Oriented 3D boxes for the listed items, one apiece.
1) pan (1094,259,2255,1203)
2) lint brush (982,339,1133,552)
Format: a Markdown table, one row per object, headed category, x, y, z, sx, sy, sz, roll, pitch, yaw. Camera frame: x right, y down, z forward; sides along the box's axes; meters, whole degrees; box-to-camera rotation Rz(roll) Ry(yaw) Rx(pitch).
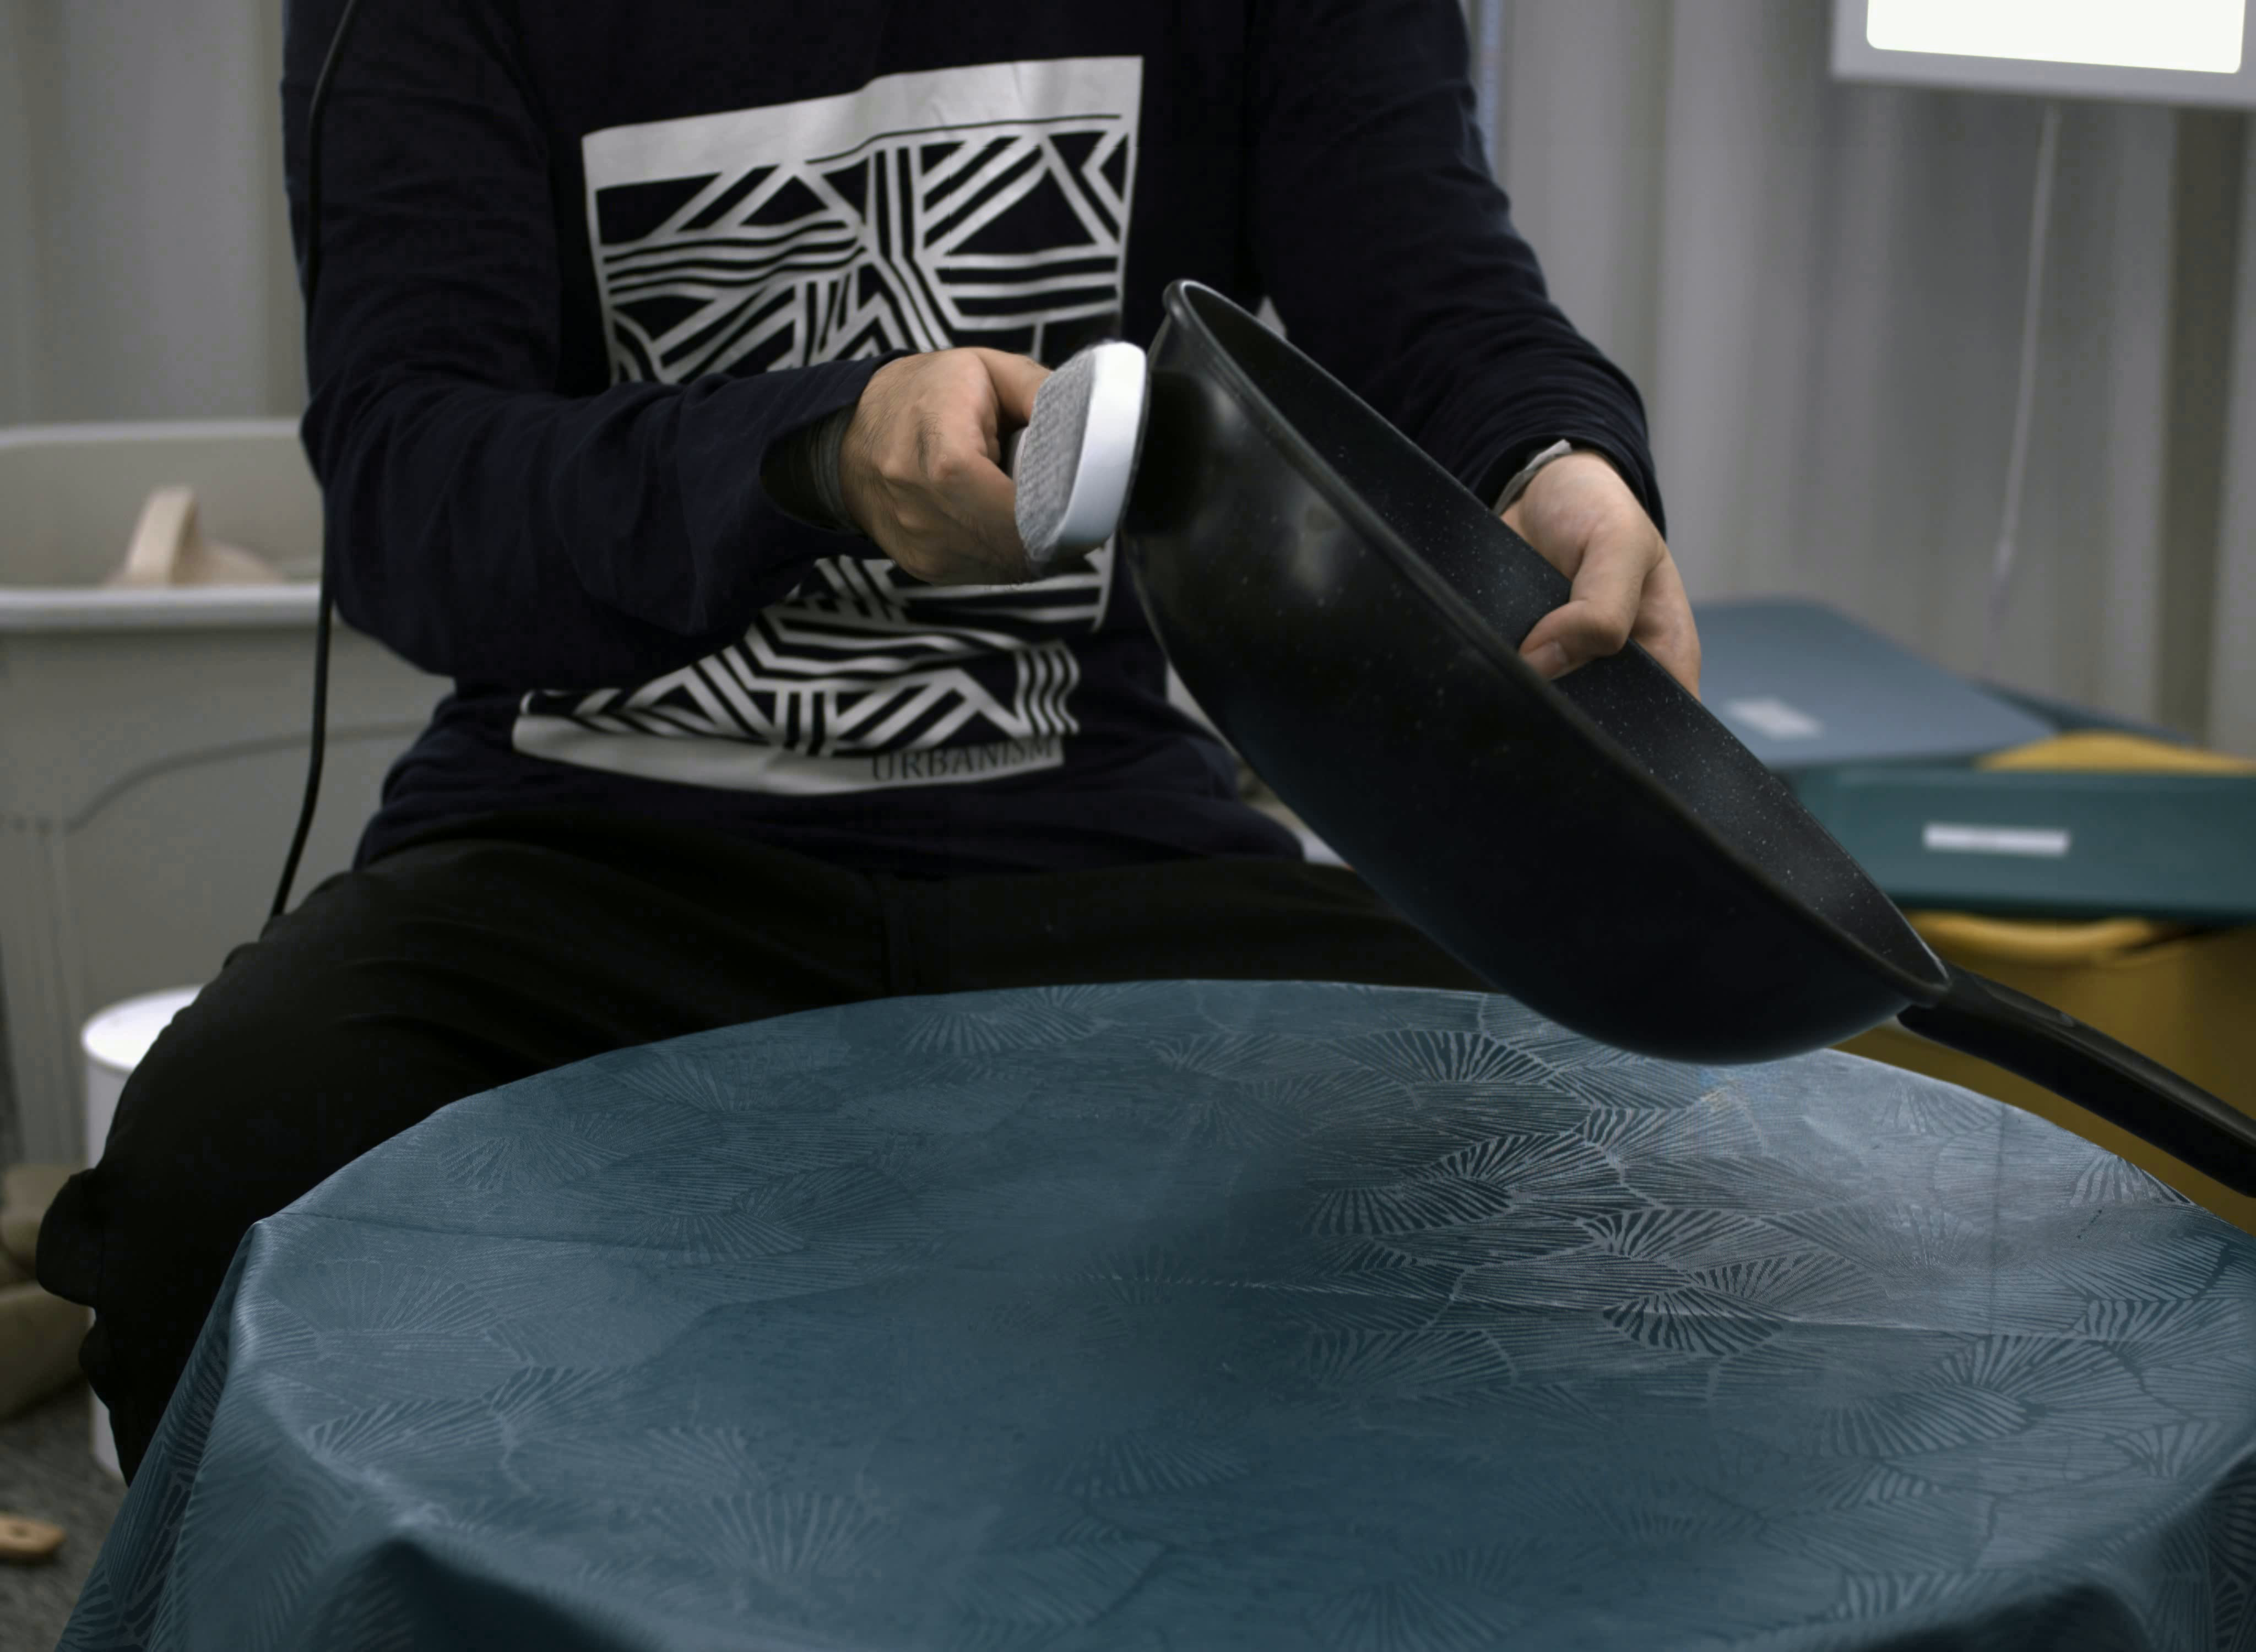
| category | x | y | z | sx | sy | sz | roll | pitch | yaw |
| --- | --- | --- | --- | --- | --- | --- | --- | --- | --- |
| pan | 0.162 | 0.012 | 1.568 | 0.481 | 0.112 | 0.307 | 39 | 12 | -19 |
| lint brush | -0.024 | -0.113 | 1.591 | 0.021 | 0.060 | 0.308 | 5 | 1 | -6 |
